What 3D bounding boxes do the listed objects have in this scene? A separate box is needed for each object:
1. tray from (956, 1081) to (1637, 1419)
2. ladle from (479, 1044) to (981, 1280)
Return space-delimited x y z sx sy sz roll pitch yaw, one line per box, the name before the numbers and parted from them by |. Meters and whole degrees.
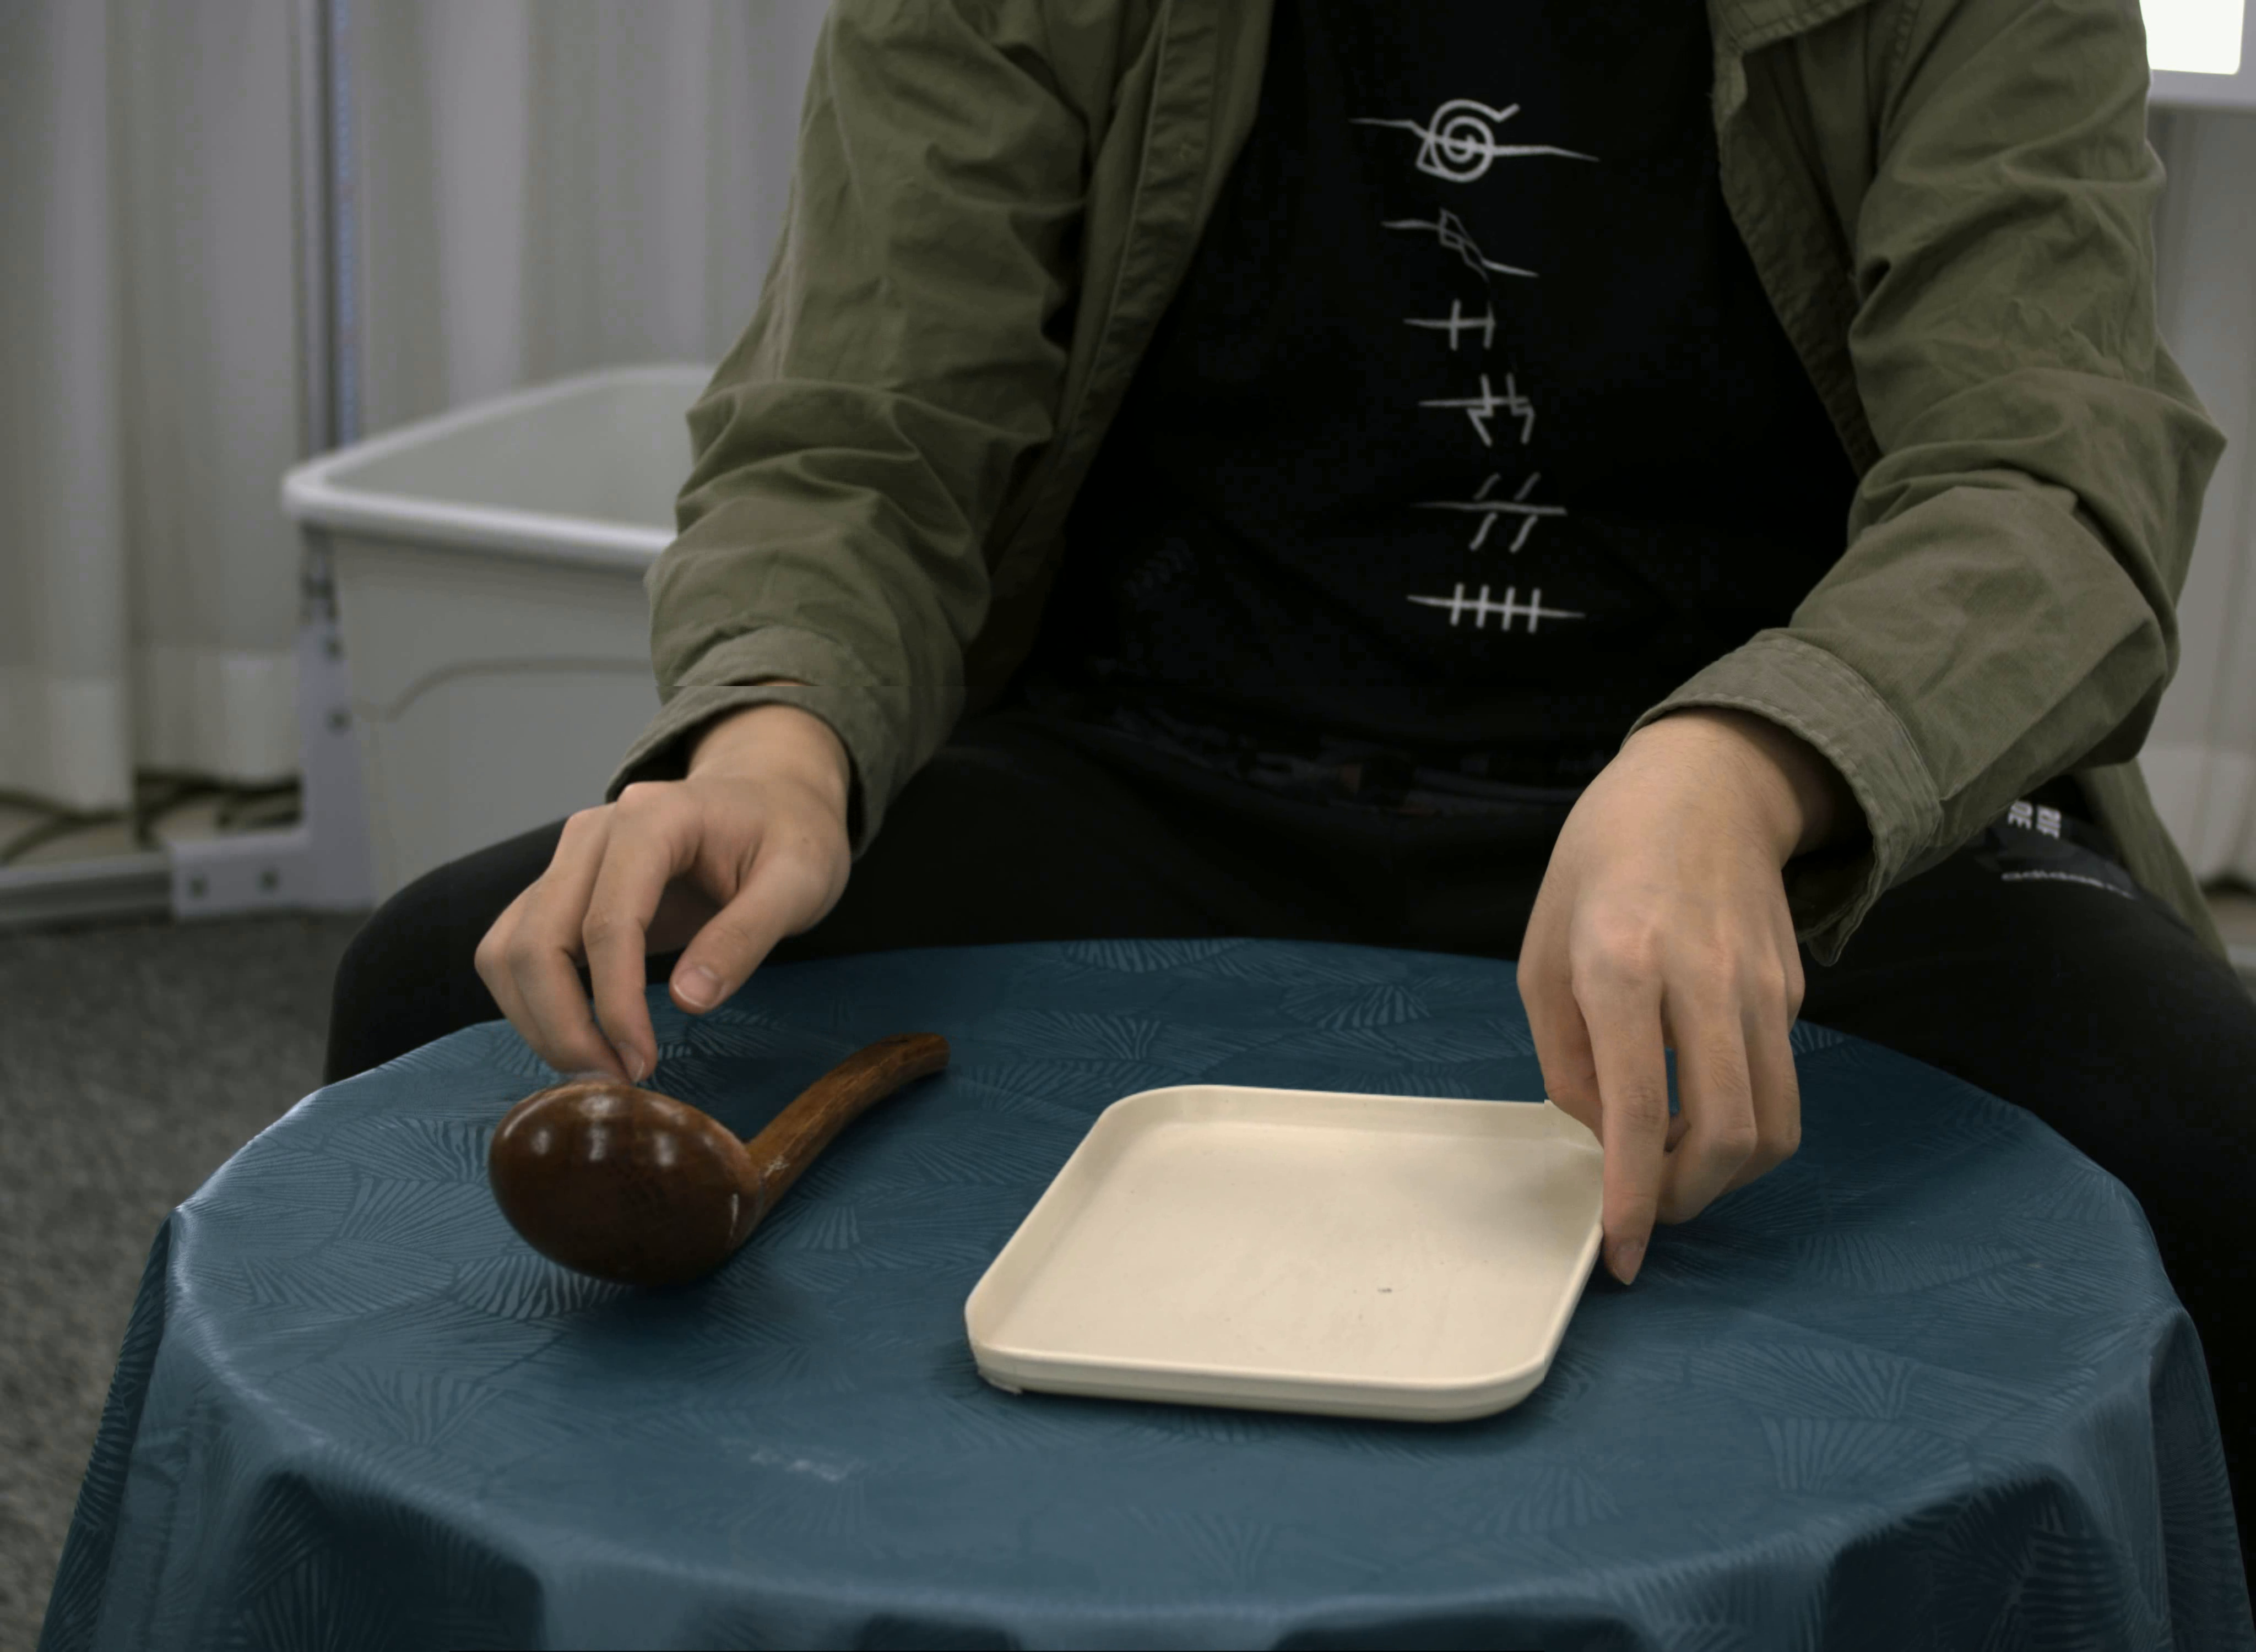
tray | 0.054 0.123 1.552 0.170 0.017 0.239 4 16 13
ladle | -0.111 0.077 1.612 0.081 0.077 0.274 1 14 20
